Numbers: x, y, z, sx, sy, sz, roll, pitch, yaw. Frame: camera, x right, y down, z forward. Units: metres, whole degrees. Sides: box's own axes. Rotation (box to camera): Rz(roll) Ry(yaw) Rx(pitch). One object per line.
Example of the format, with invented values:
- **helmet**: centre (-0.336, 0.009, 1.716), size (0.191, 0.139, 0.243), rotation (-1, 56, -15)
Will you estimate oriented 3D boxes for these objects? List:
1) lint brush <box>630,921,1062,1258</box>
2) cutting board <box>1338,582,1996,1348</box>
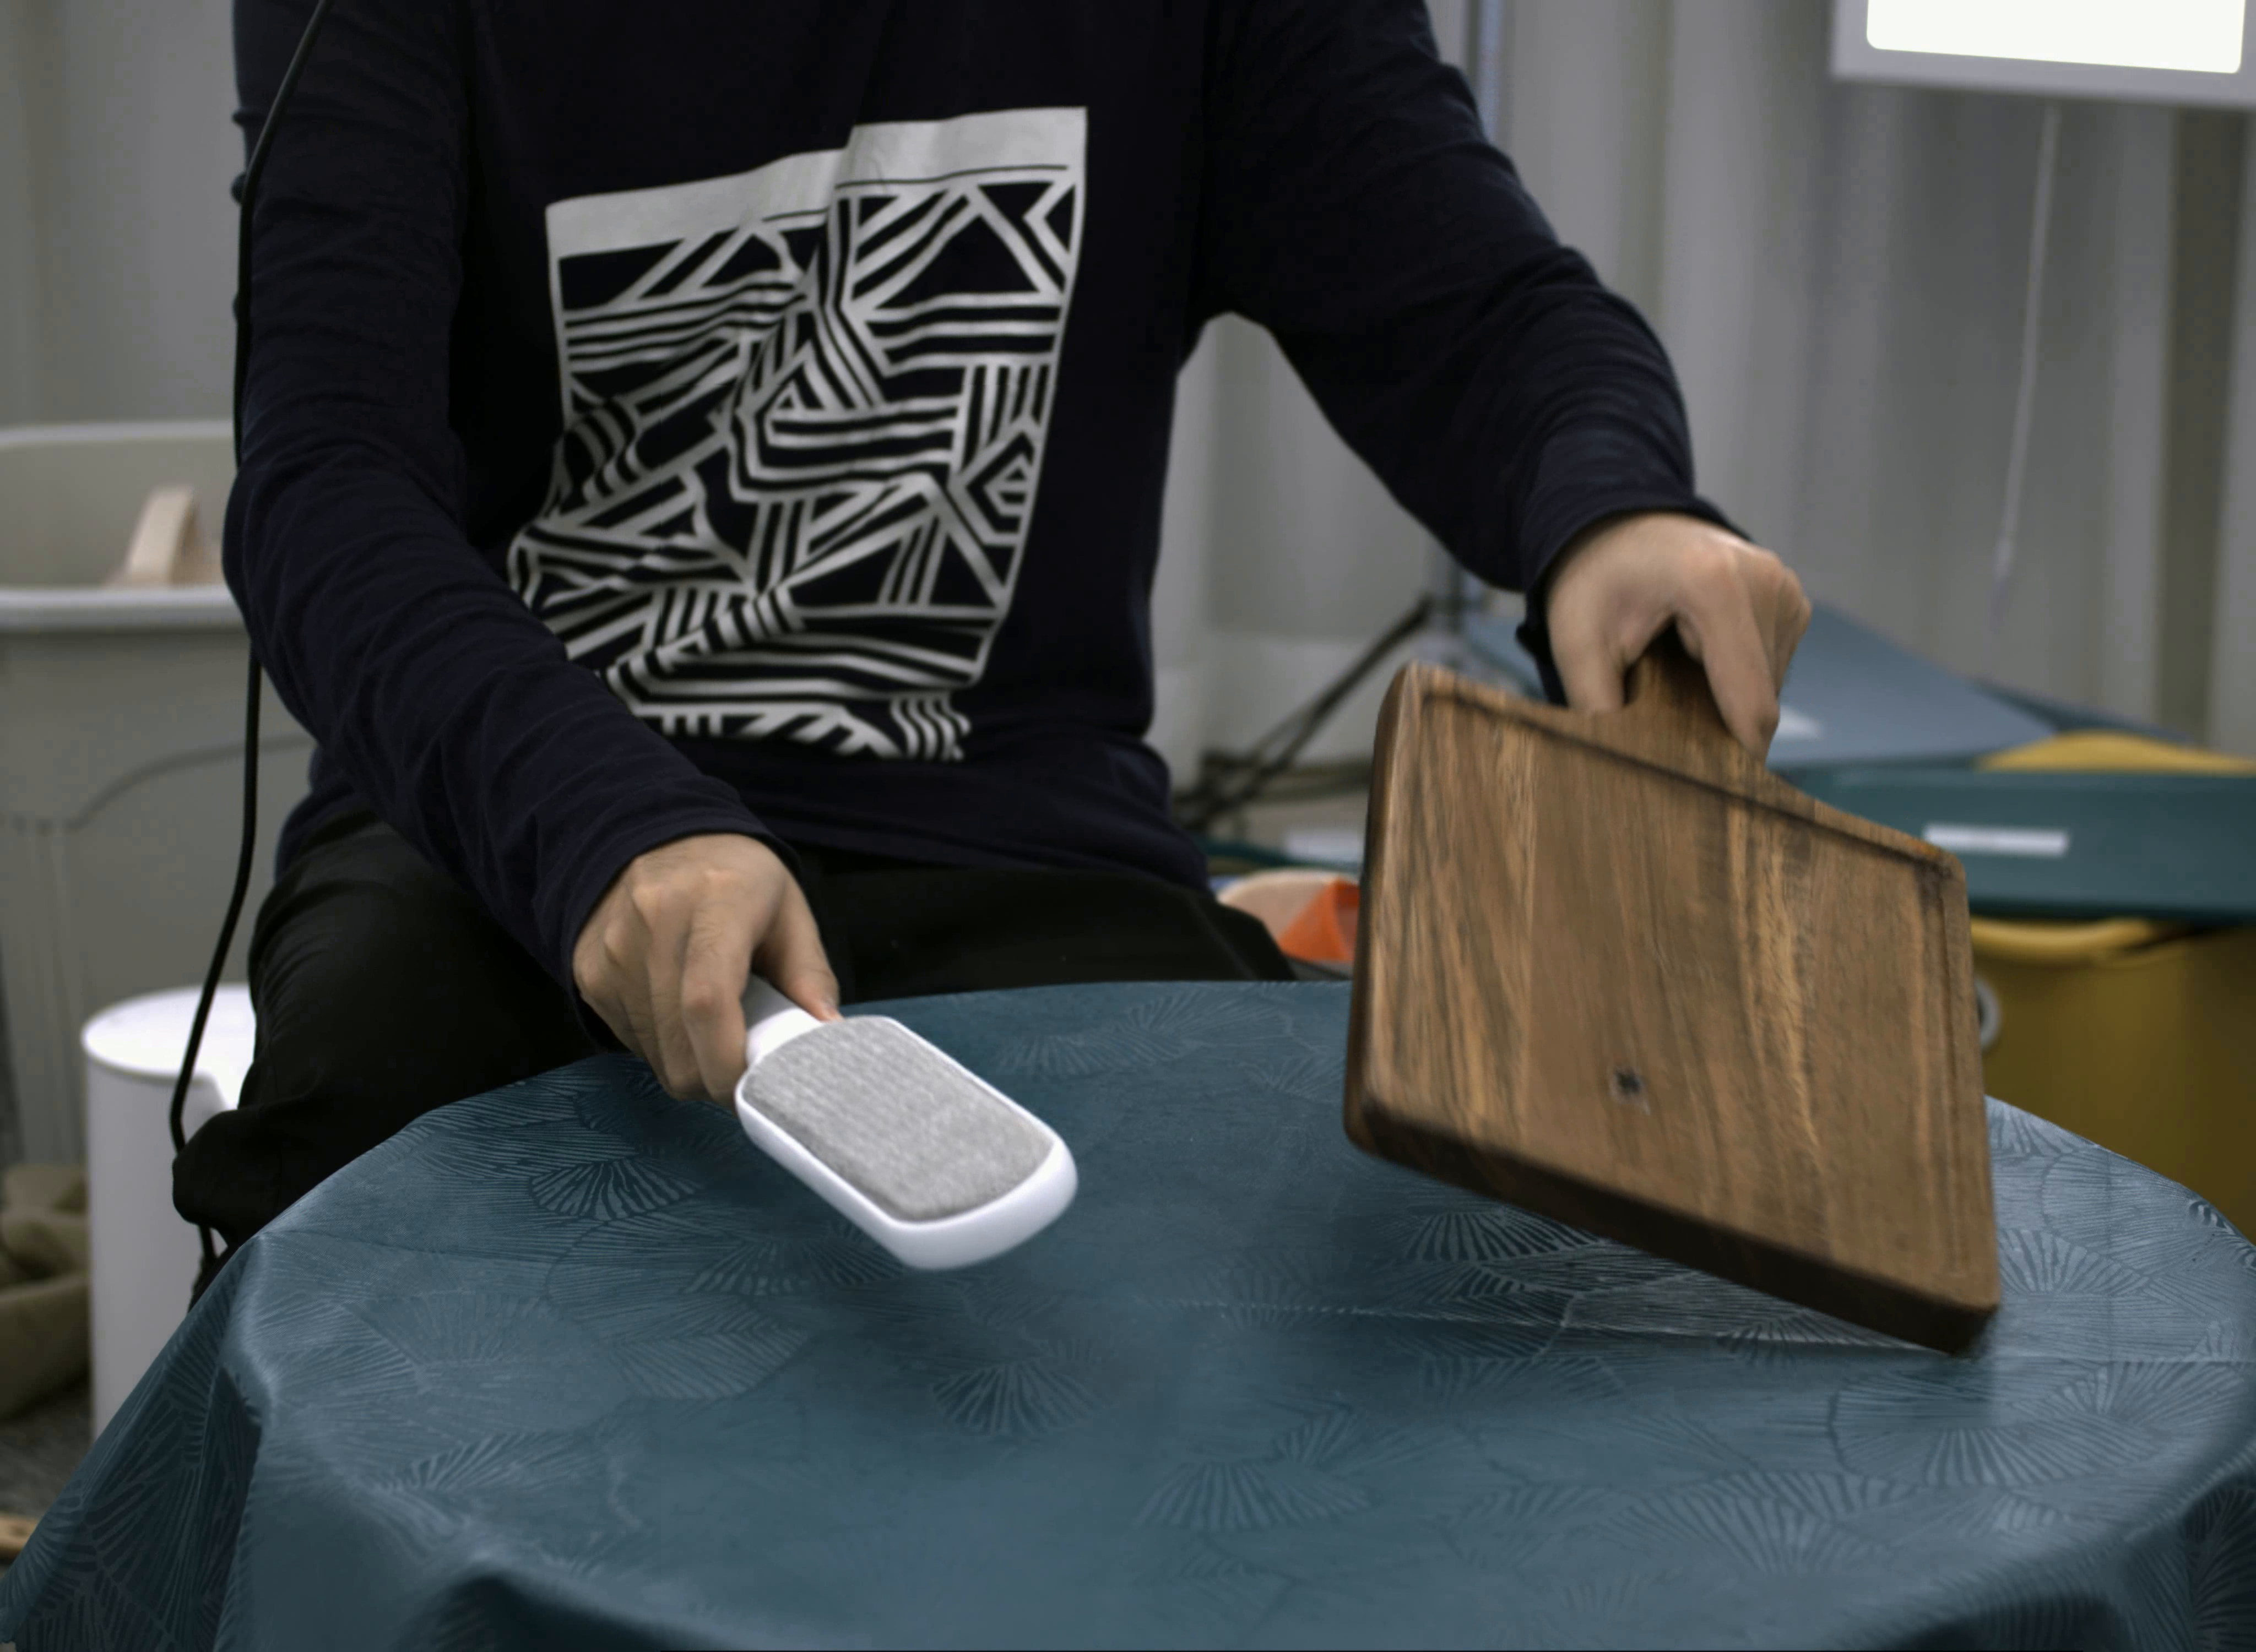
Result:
- **lint brush**: centre (-0.092, 0.071, 1.561), size (0.060, 0.021, 0.305), rotation (-33, 23, -13)
- **cutting board**: centre (0.167, 0.020, 1.626), size (0.201, 0.023, 0.349), rotation (21, 32, -7)
